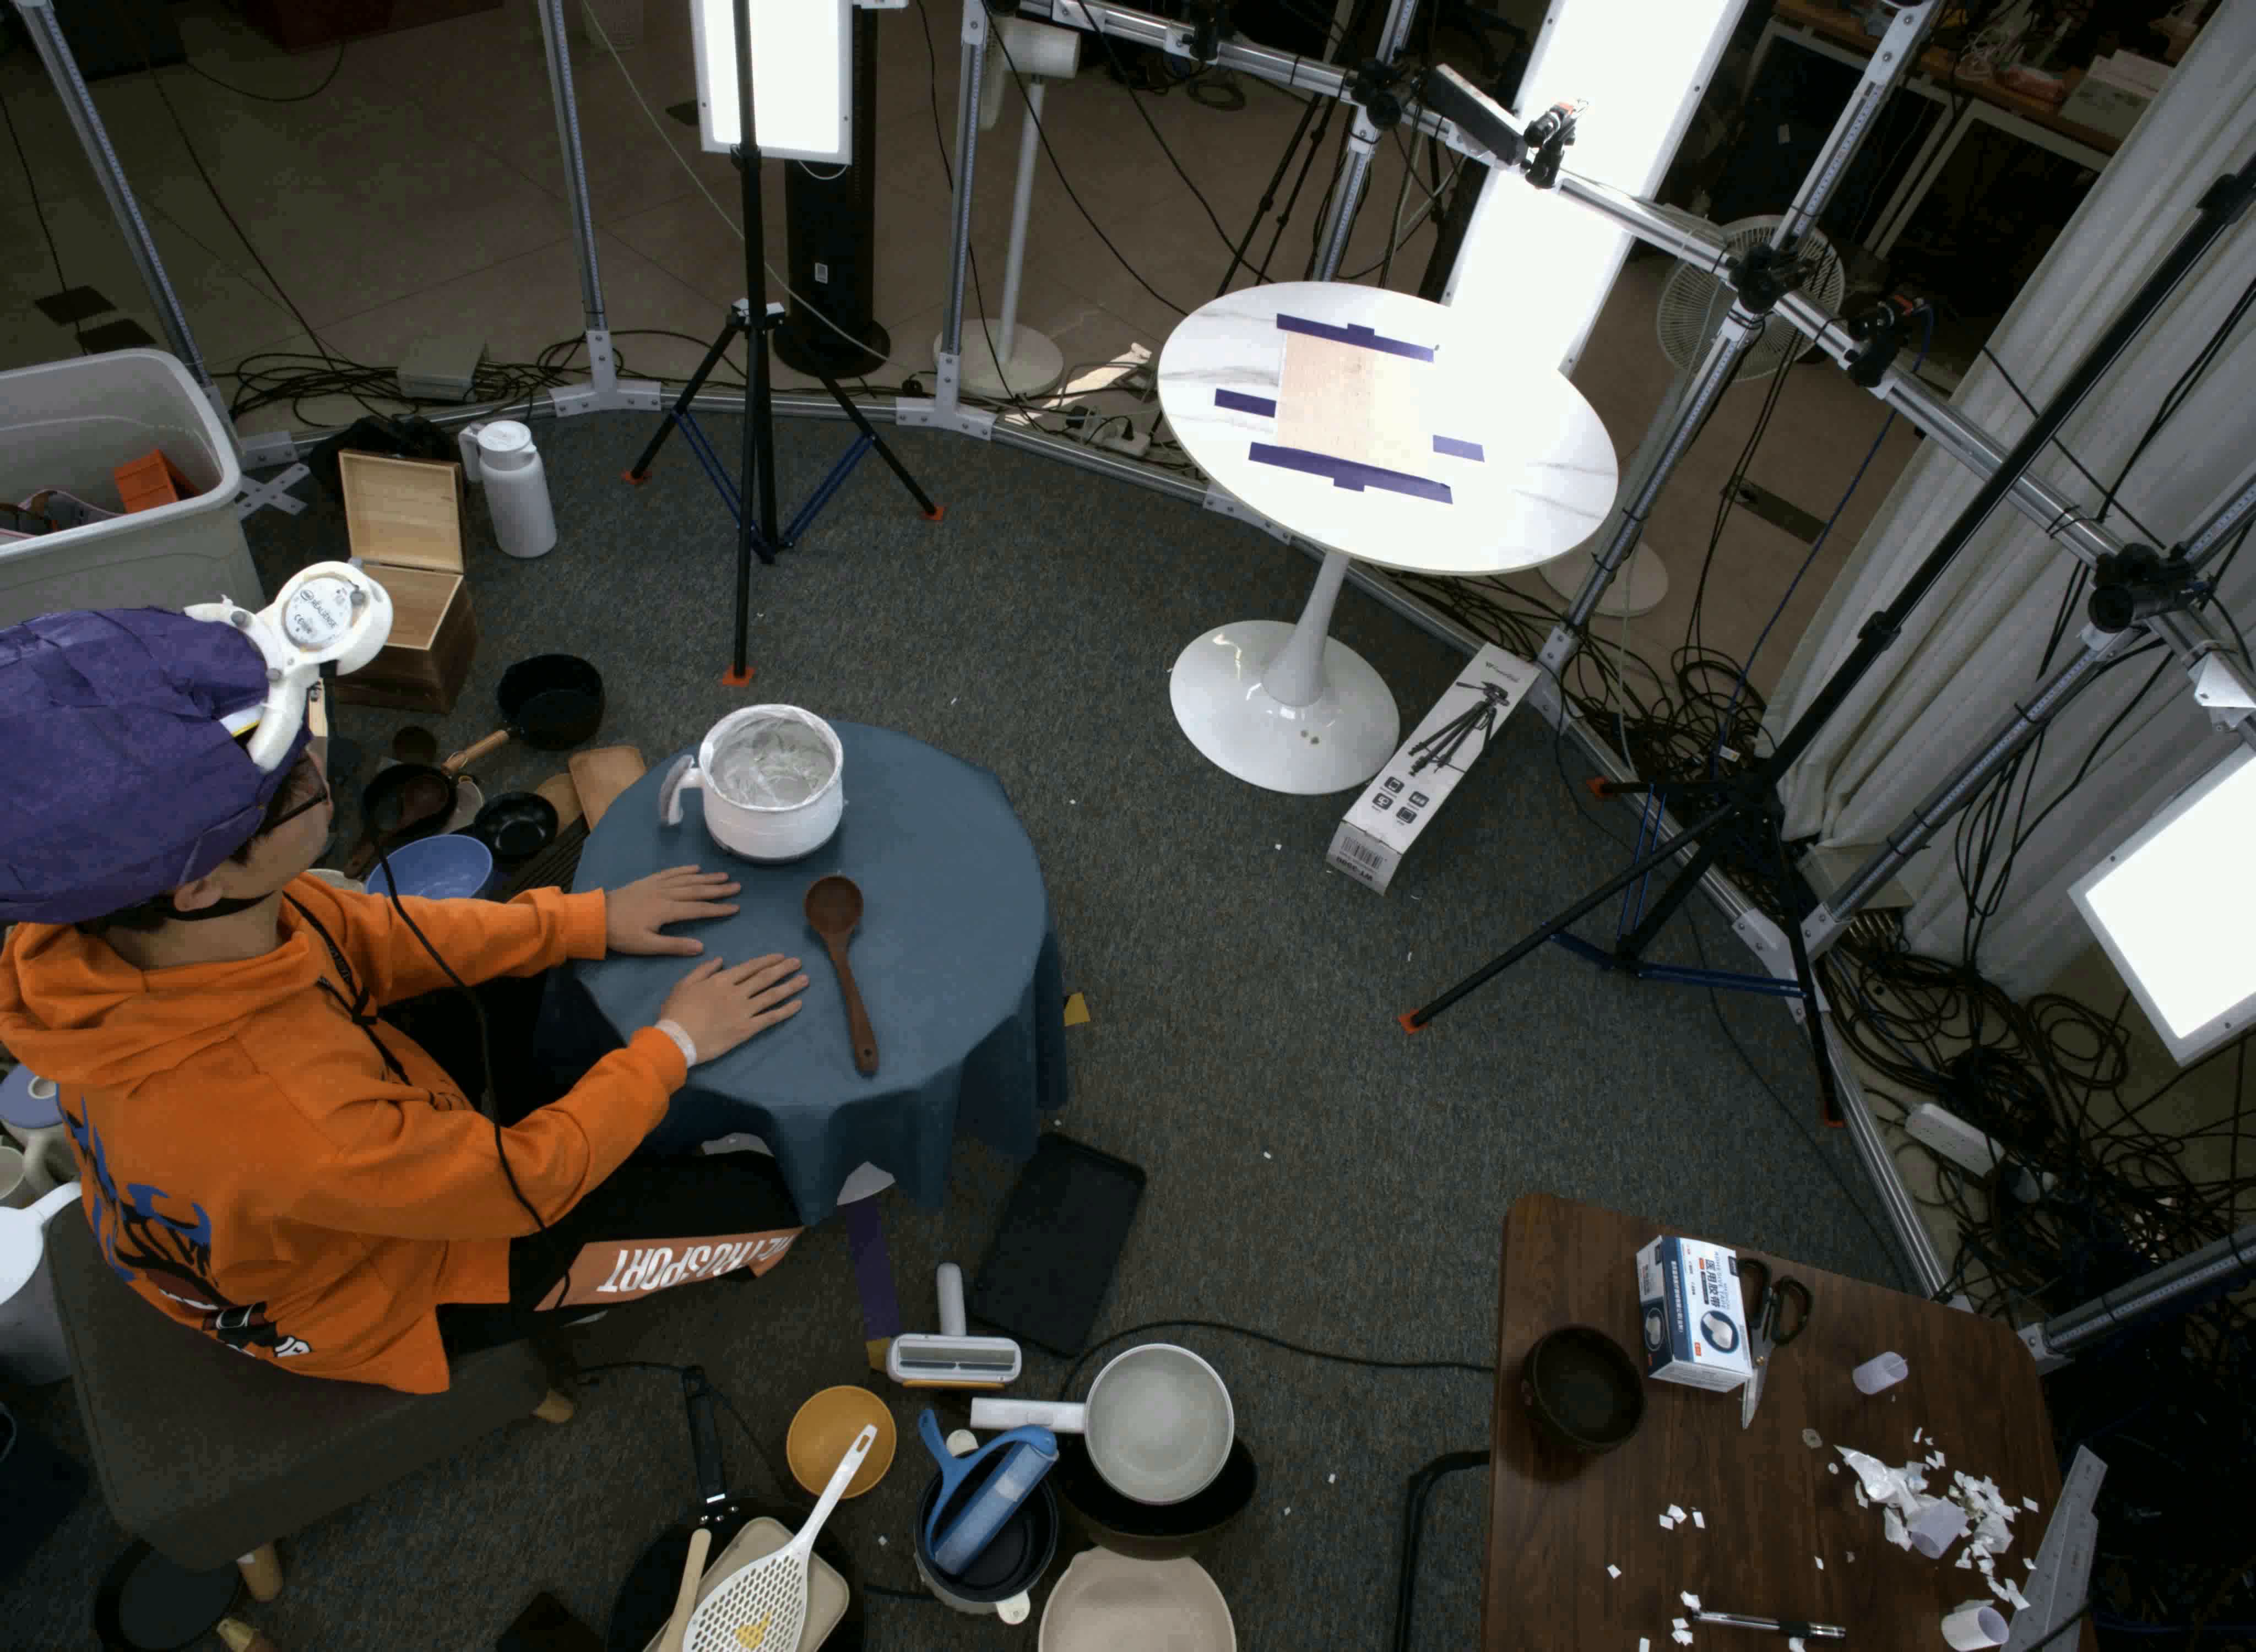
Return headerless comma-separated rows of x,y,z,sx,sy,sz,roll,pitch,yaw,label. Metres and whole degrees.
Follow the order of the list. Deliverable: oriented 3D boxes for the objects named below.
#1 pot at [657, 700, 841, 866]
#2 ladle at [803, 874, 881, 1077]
-0.483,-0.049,1.645,0.234,0.139,0.174,-5,54,-18,pot
-0.336,0.173,1.566,0.077,0.066,0.254,-9,56,-21,ladle
